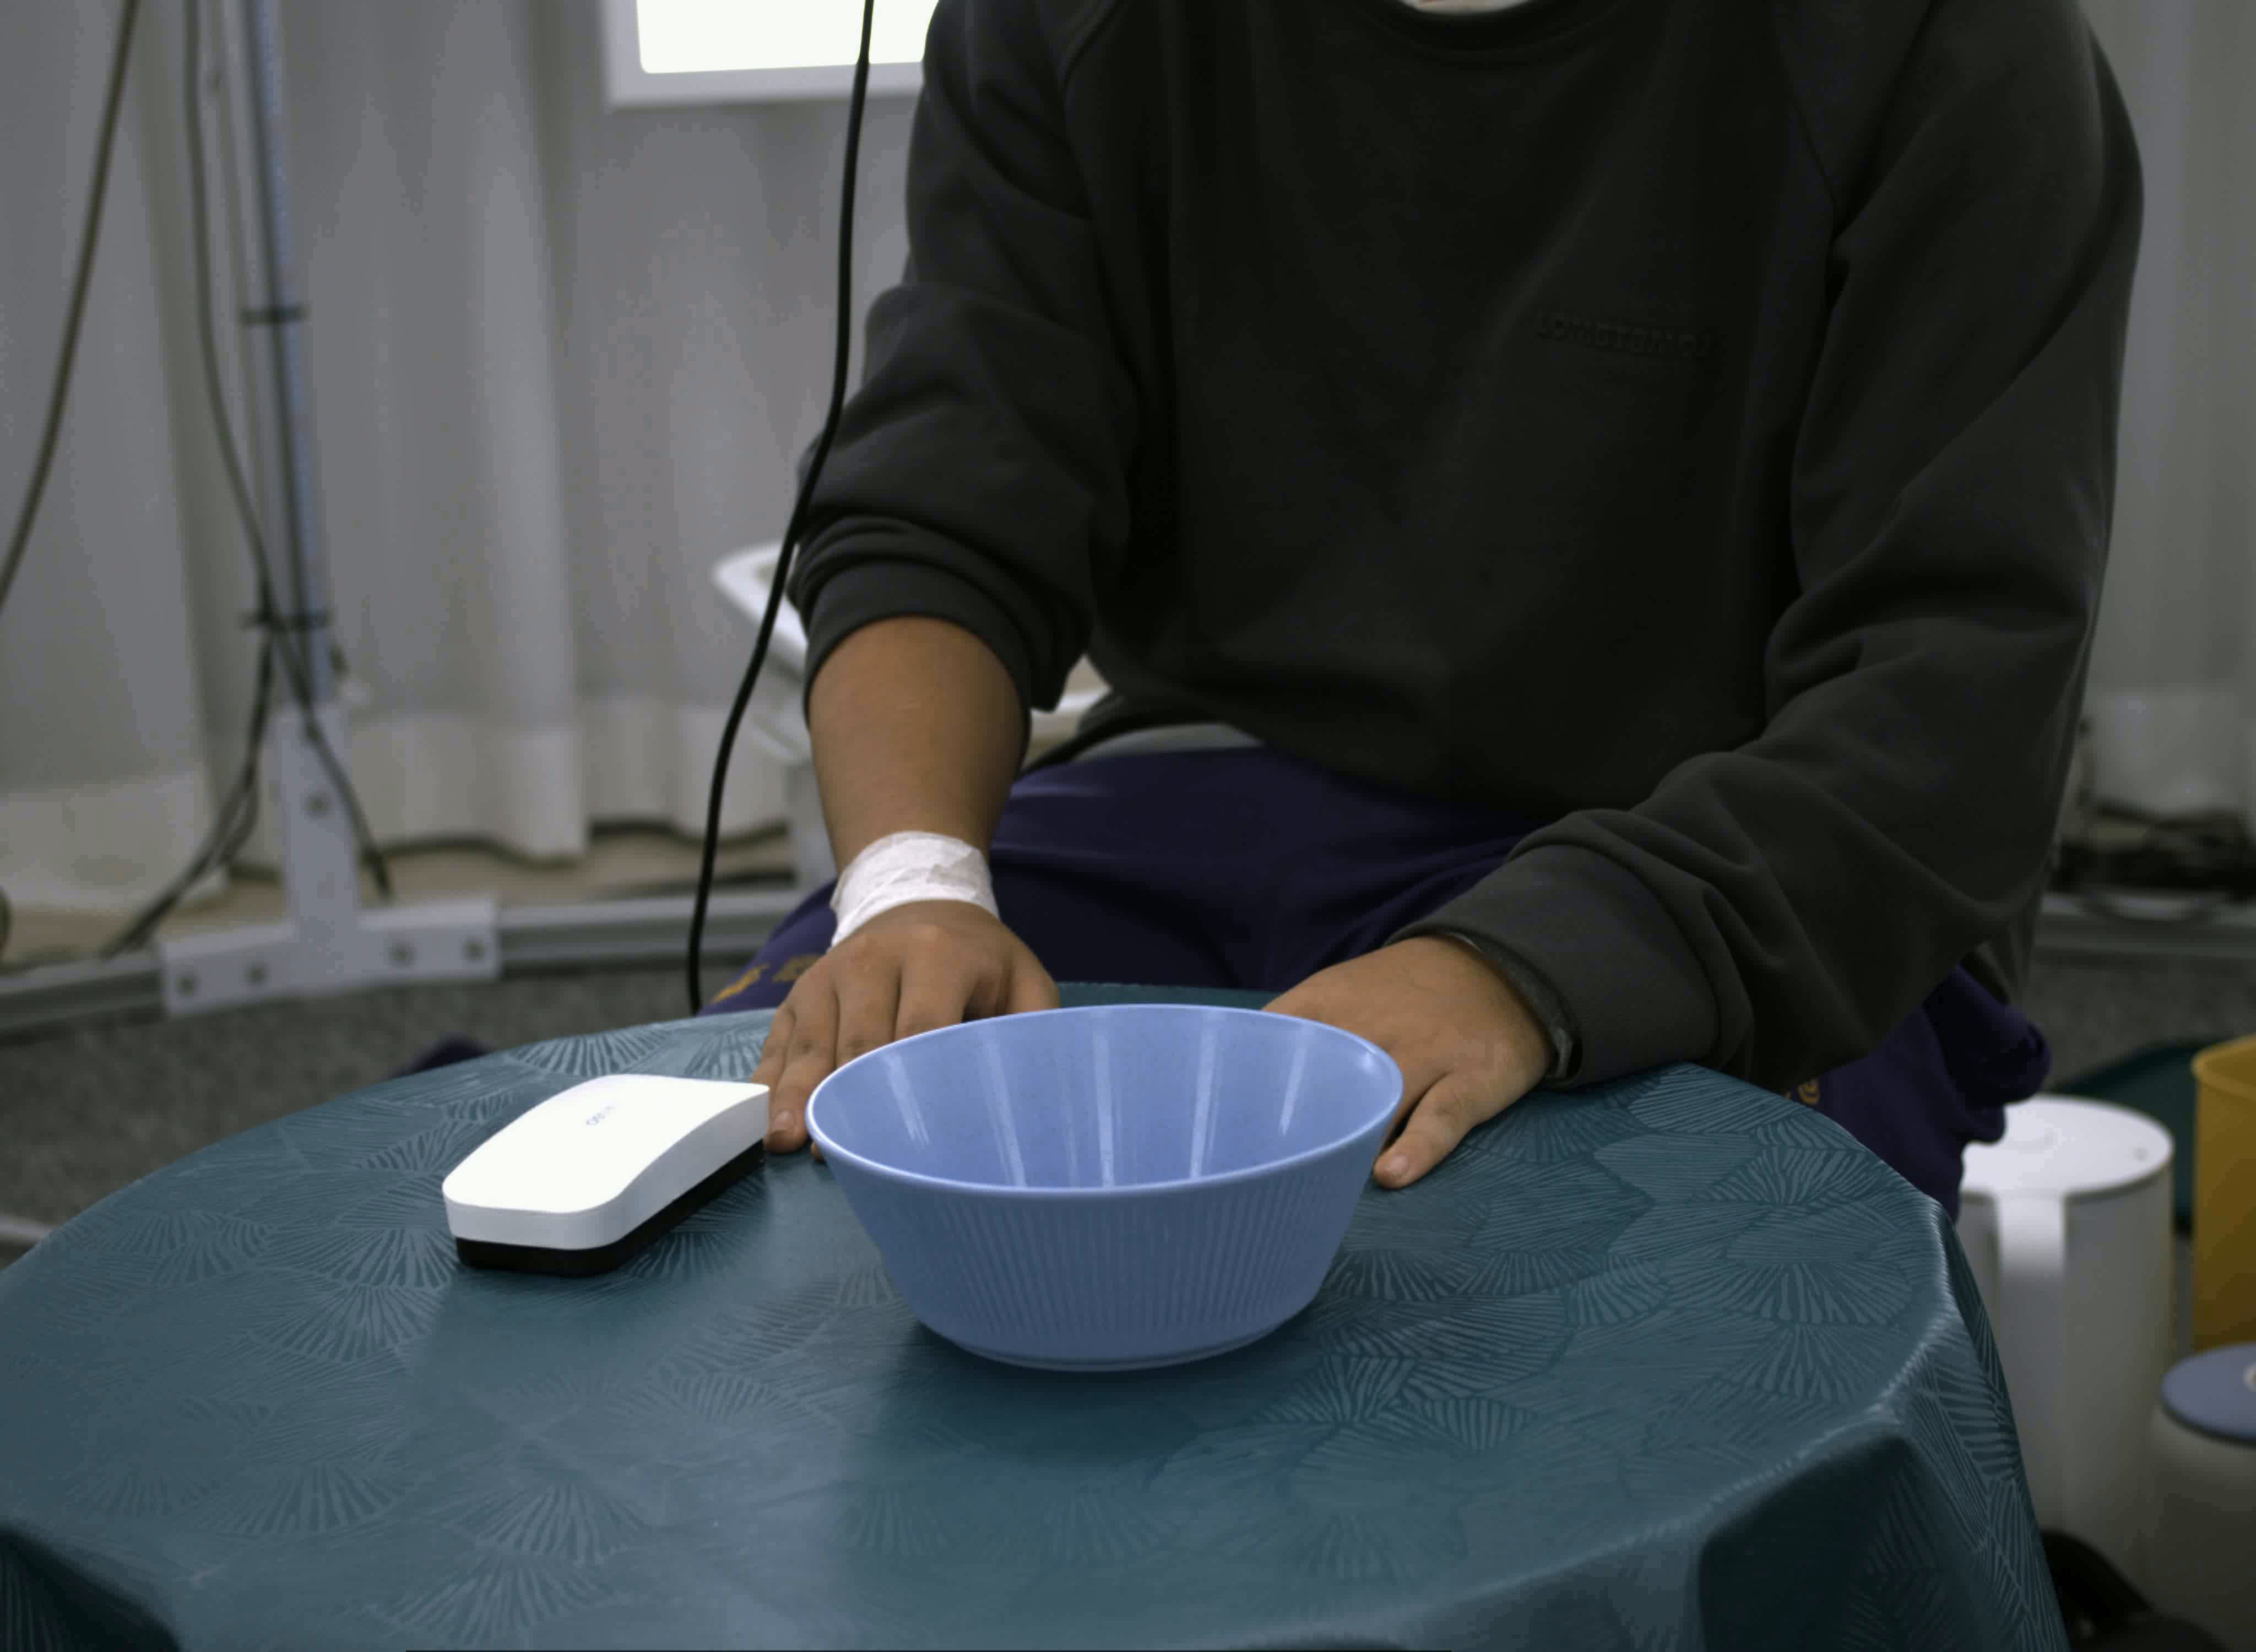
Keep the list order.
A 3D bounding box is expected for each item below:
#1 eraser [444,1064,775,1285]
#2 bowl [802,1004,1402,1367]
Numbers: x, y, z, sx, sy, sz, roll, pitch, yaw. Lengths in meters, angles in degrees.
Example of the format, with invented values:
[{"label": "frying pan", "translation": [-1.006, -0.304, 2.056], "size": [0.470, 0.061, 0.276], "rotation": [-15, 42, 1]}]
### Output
[{"label": "eraser", "translation": [-0.160, 0.106, 1.720], "size": [0.063, 0.034, 0.132], "rotation": [5, 19, 23]}, {"label": "bowl", "translation": [-0.007, 0.108, 1.604], "size": [0.175, 0.070, 0.177], "rotation": [-2, 15, 0]}]
